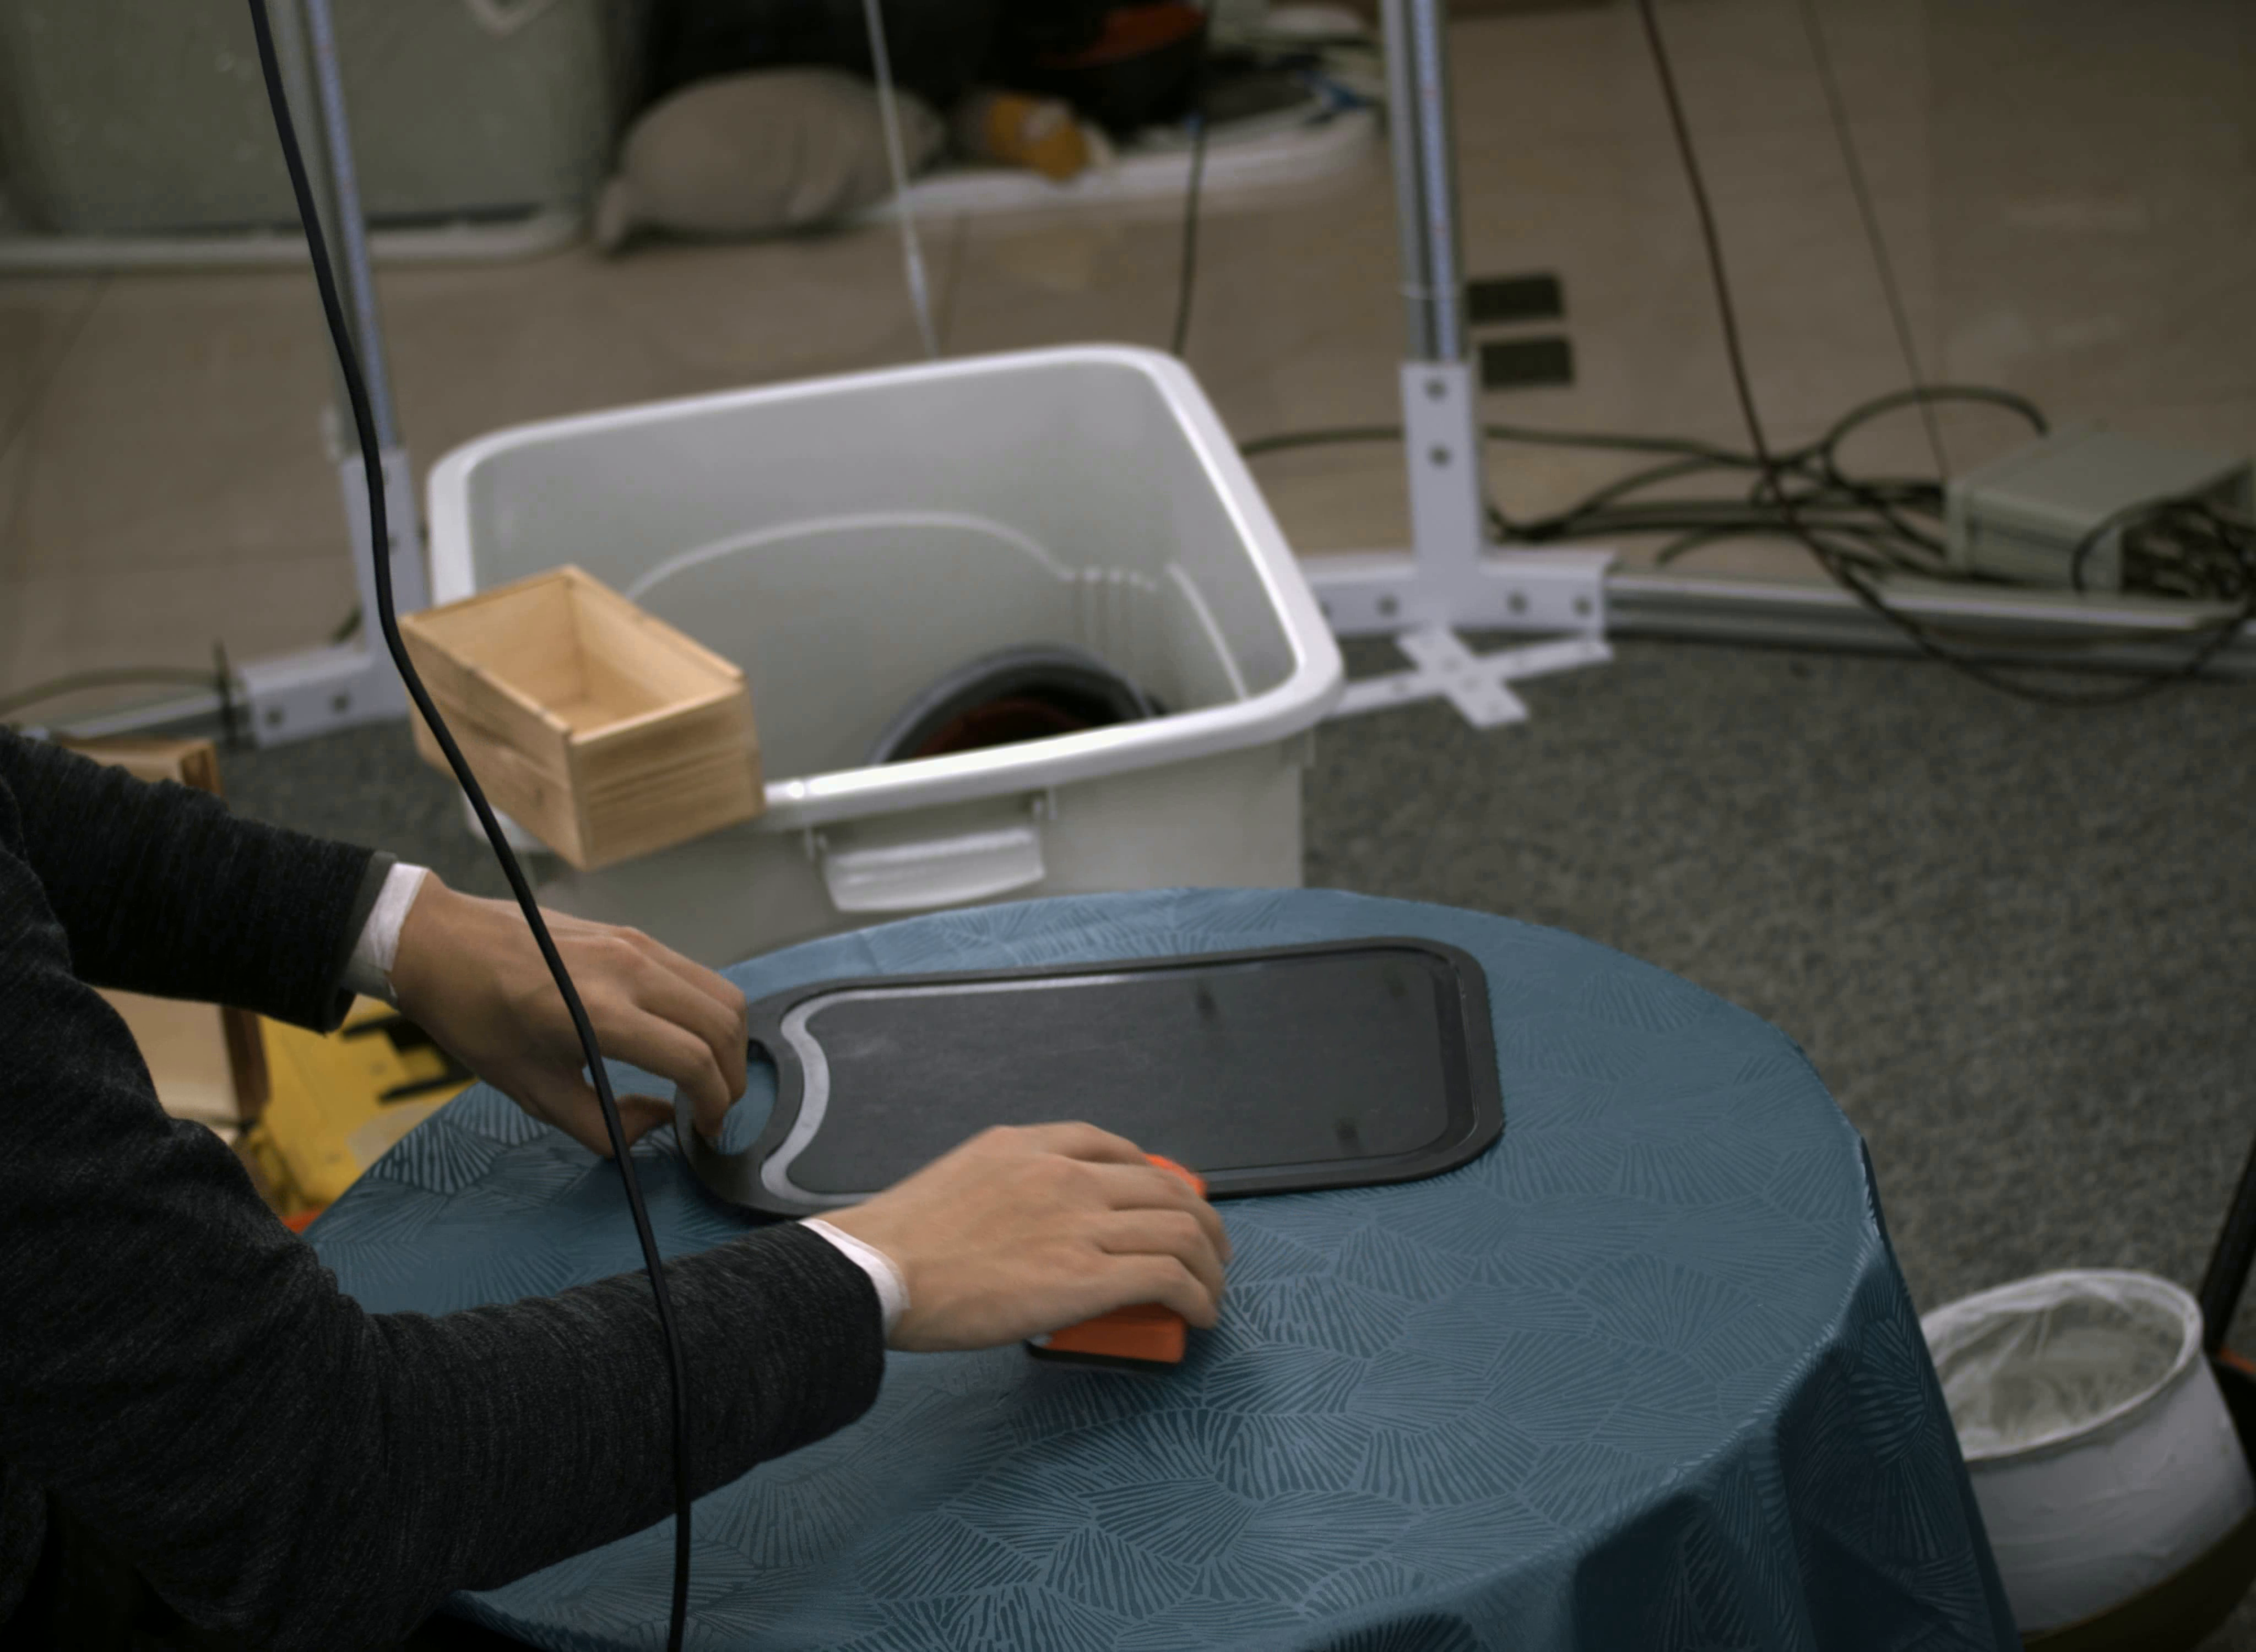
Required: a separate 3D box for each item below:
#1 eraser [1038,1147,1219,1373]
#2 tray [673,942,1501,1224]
[{"bbox_3d":[0.001,0.156,2.054,0.059,0.023,0.106,2,33,6],"label":"eraser"},{"bbox_3d":[-0.018,0.098,2.228,0.325,0.010,0.208,-4,24,3],"label":"tray"}]
